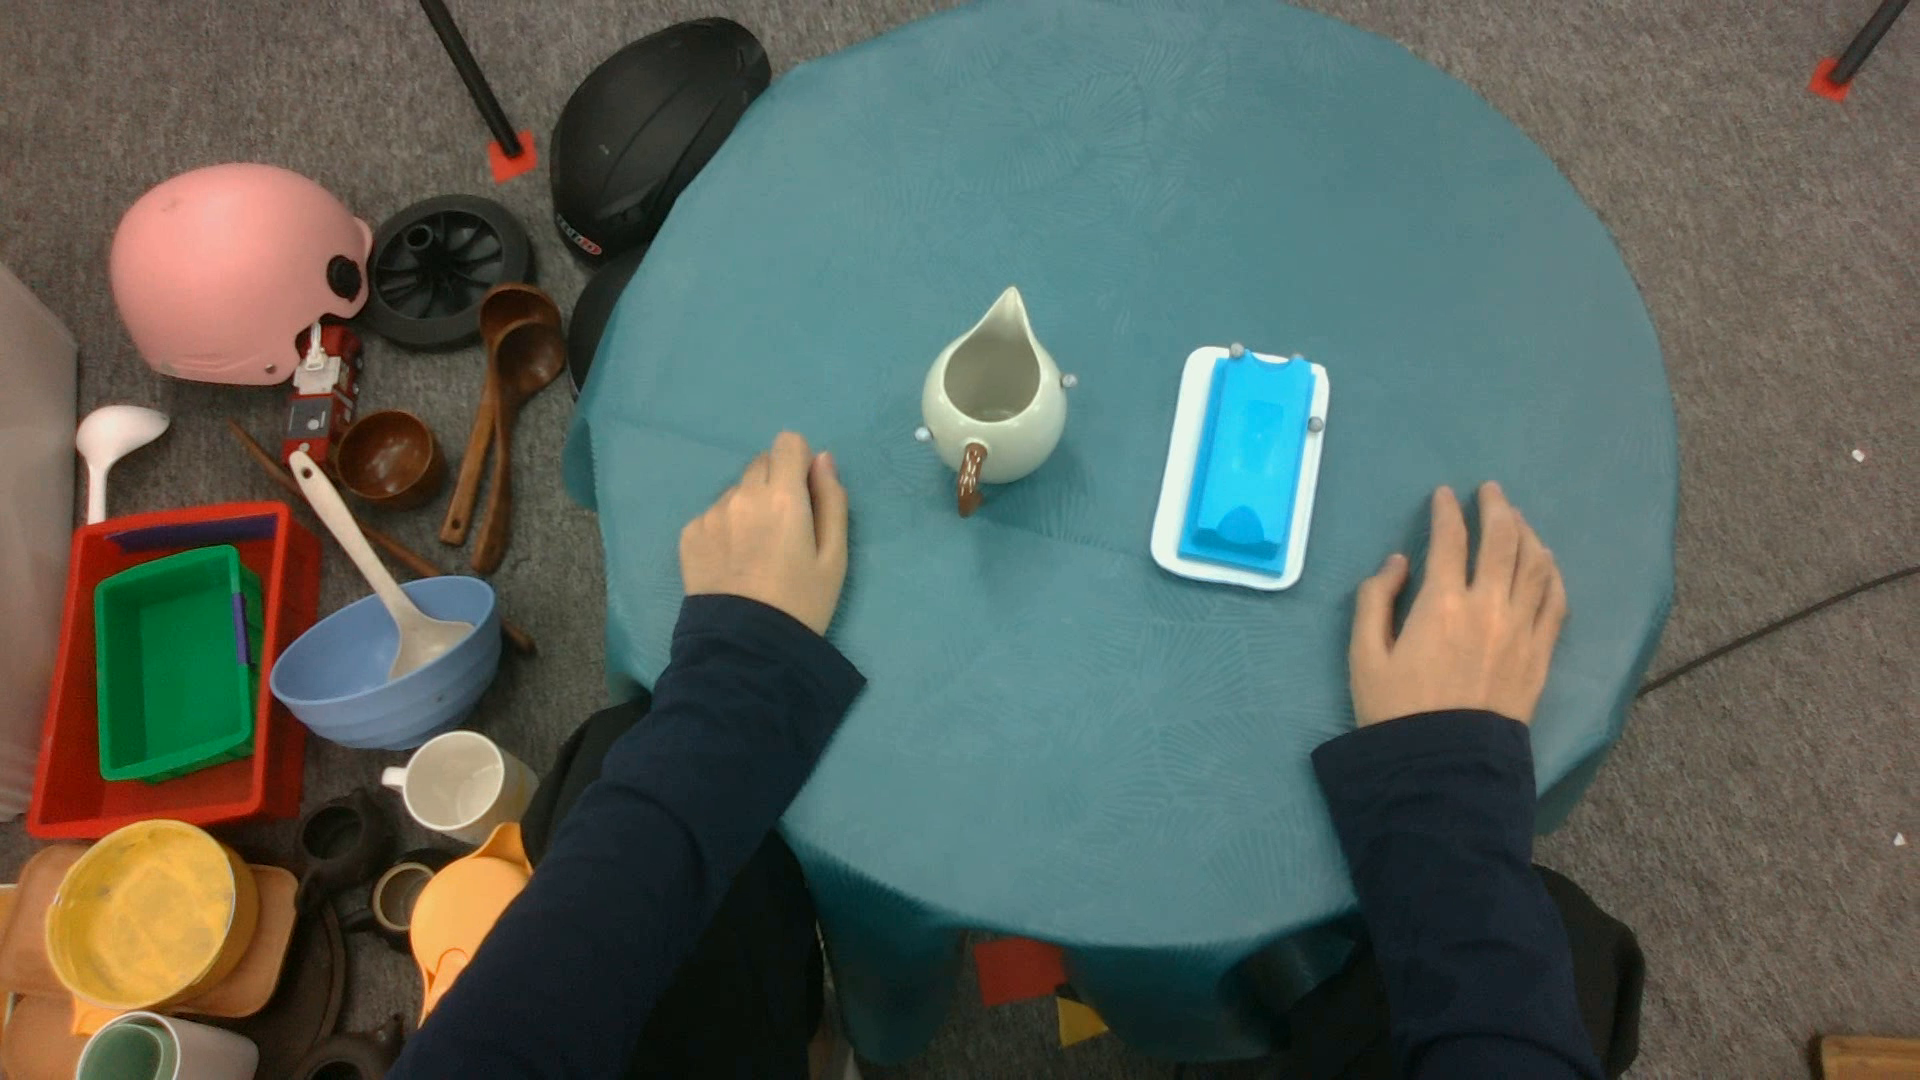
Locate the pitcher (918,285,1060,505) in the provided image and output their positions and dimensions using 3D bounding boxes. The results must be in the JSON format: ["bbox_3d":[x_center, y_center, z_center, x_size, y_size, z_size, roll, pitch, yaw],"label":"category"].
[{"bbox_3d":[0.013,-0.063,0.738,0.076,0.087,0.119,15,64,14],"label":"pitcher"}]

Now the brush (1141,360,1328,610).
[{"bbox_3d":[0.149,-0.037,0.735,0.084,0.056,0.144,12,66,11],"label":"brush"}]
